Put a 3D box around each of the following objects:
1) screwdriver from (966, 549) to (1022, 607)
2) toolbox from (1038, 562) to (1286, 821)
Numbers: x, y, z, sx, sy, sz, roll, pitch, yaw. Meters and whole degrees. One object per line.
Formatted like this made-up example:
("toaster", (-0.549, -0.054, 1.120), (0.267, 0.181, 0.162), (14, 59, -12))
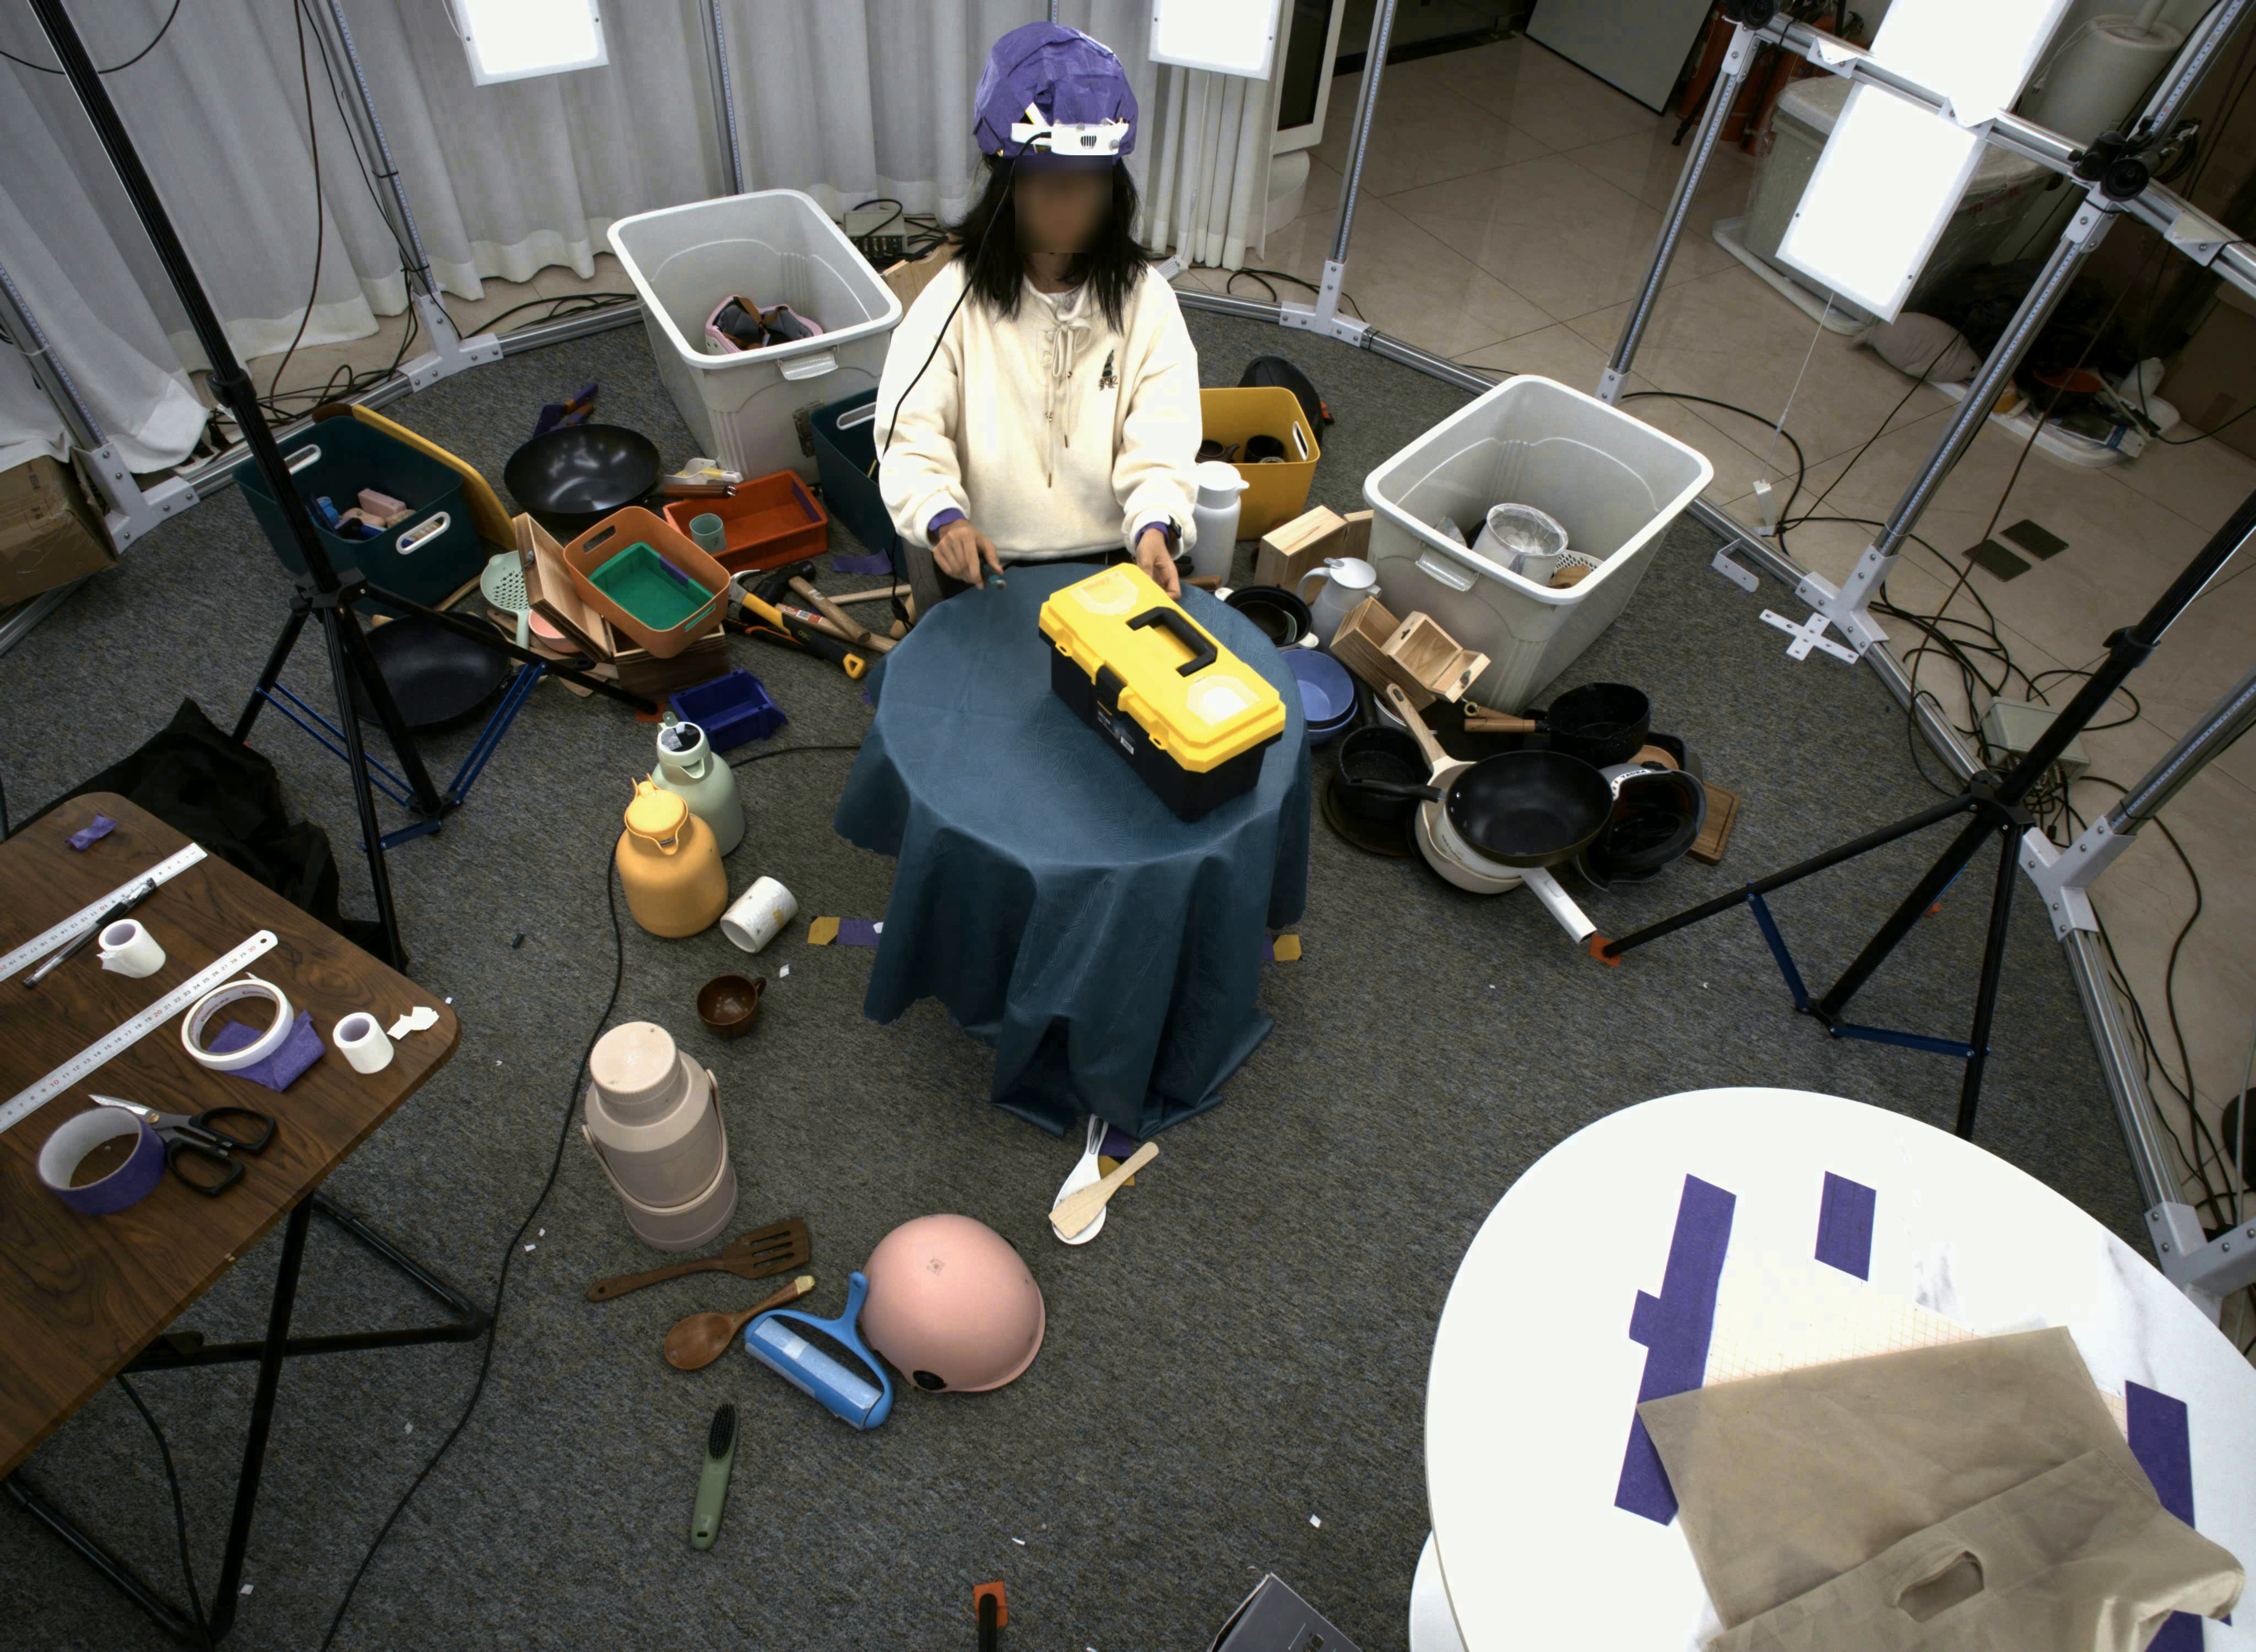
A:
("screwdriver", (-0.183, -0.341, 1.788), (0.034, 0.033, 0.194), (-17, 37, -19))
("toolbox", (0.037, -0.181, 1.717), (0.182, 0.168, 0.358), (-27, 56, -25))
